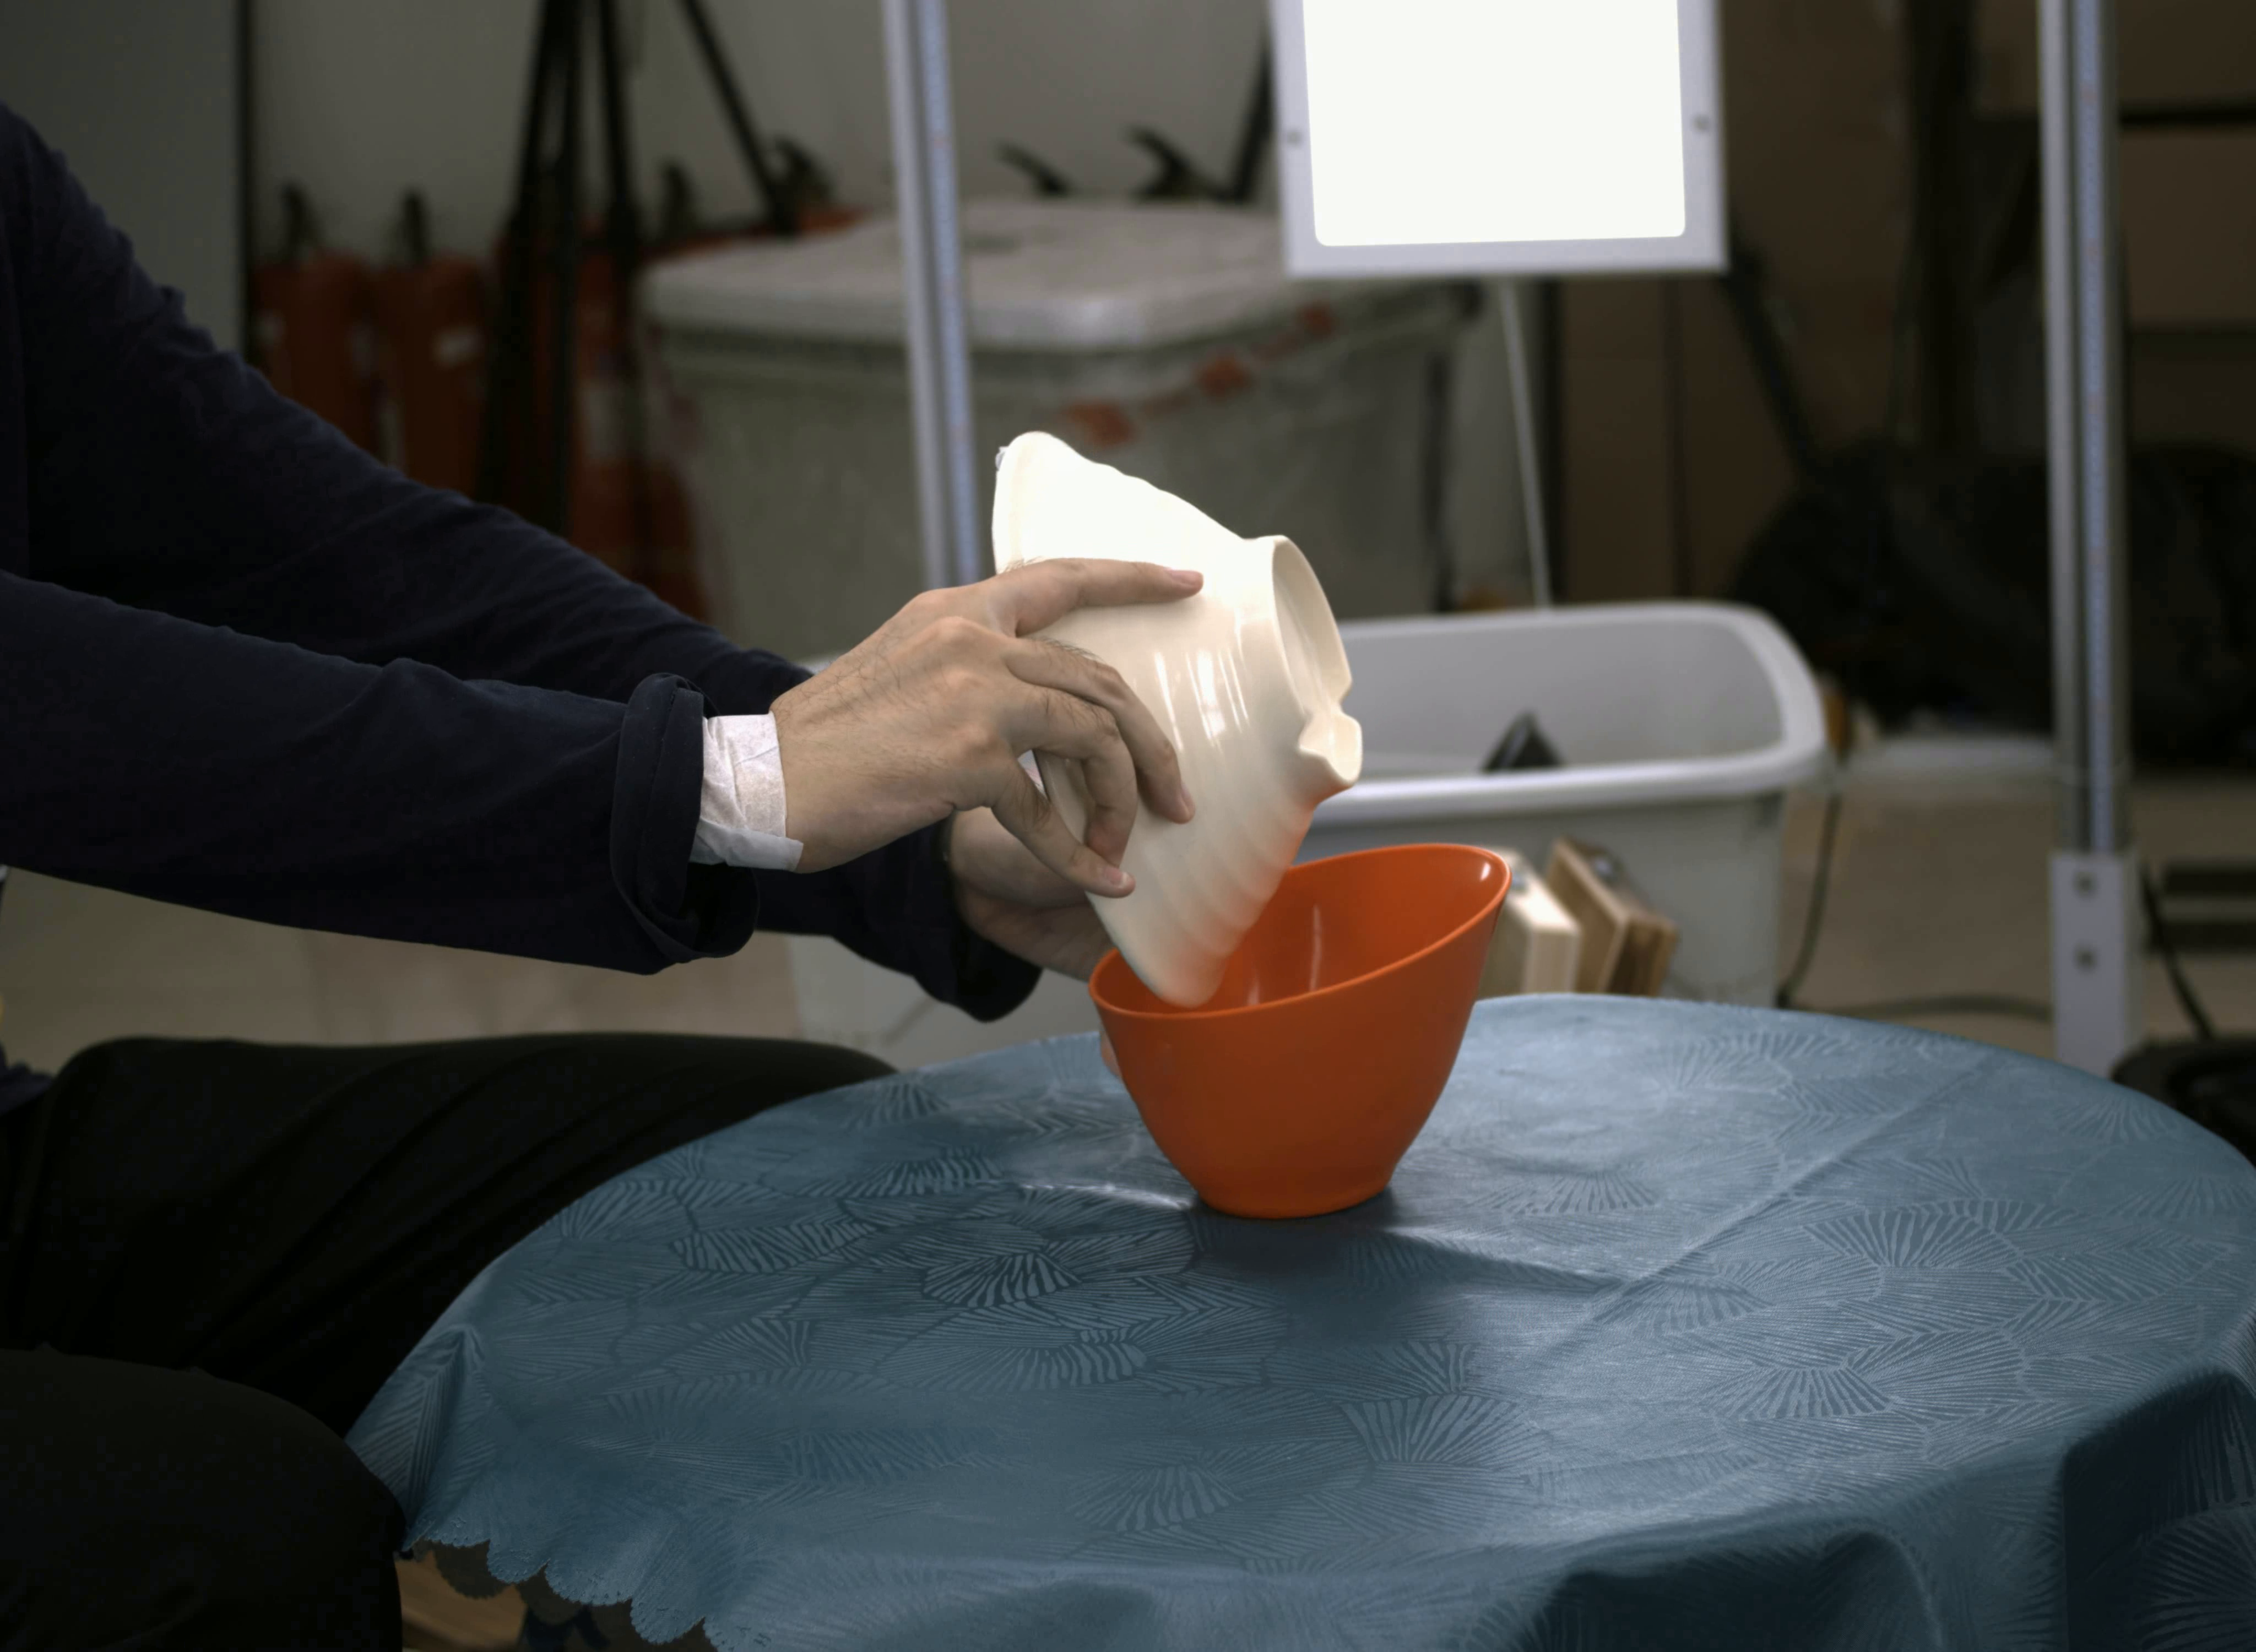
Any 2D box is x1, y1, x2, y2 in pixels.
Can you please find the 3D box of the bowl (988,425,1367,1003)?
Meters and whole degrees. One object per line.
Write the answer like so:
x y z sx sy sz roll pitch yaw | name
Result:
0.029 -0.049 1.846 0.079 0.204 0.201 -18 10 16 | bowl

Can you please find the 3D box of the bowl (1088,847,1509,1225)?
0.064 0.075 1.873 0.148 0.105 0.148 -9 16 1 | bowl
